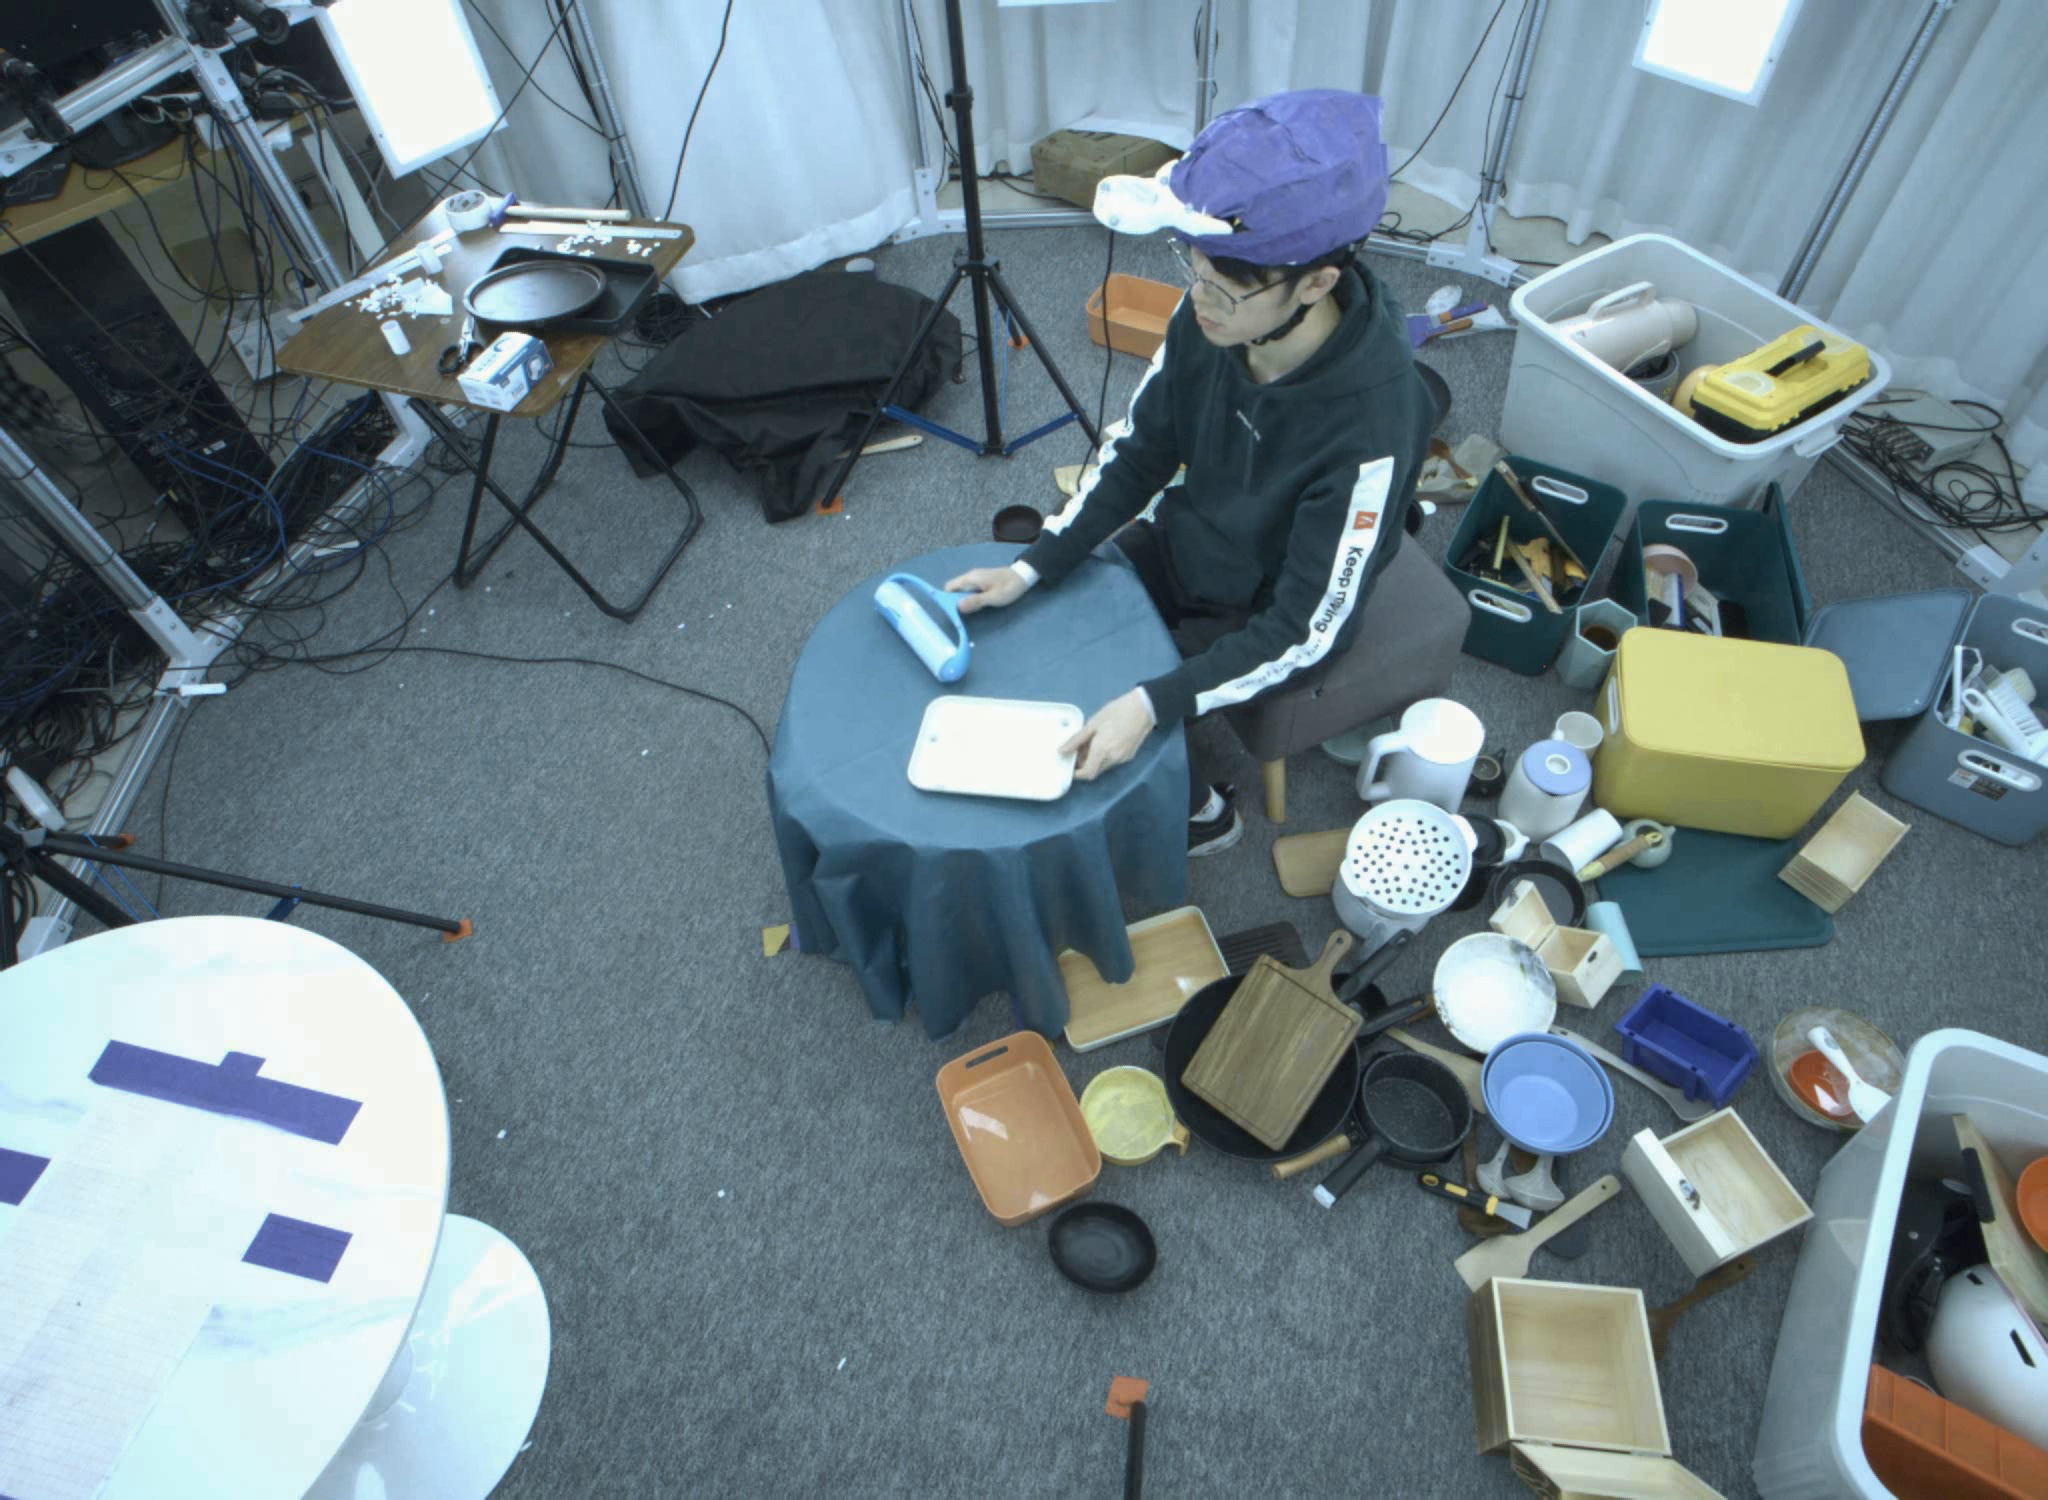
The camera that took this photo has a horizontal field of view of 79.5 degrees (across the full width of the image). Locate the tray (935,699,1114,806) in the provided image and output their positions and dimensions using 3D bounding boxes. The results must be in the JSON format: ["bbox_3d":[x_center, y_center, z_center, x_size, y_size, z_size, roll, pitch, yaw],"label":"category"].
[{"bbox_3d":[0.002,0.003,1.759,0.237,0.018,0.170,6,54,12],"label":"tray"}]

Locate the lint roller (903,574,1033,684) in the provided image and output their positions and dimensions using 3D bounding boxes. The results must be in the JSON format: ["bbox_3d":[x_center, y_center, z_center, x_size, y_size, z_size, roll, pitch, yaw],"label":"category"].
[{"bbox_3d":[-0.068,-0.212,1.900,0.181,0.069,0.224,-32,58,-18],"label":"lint roller"}]
